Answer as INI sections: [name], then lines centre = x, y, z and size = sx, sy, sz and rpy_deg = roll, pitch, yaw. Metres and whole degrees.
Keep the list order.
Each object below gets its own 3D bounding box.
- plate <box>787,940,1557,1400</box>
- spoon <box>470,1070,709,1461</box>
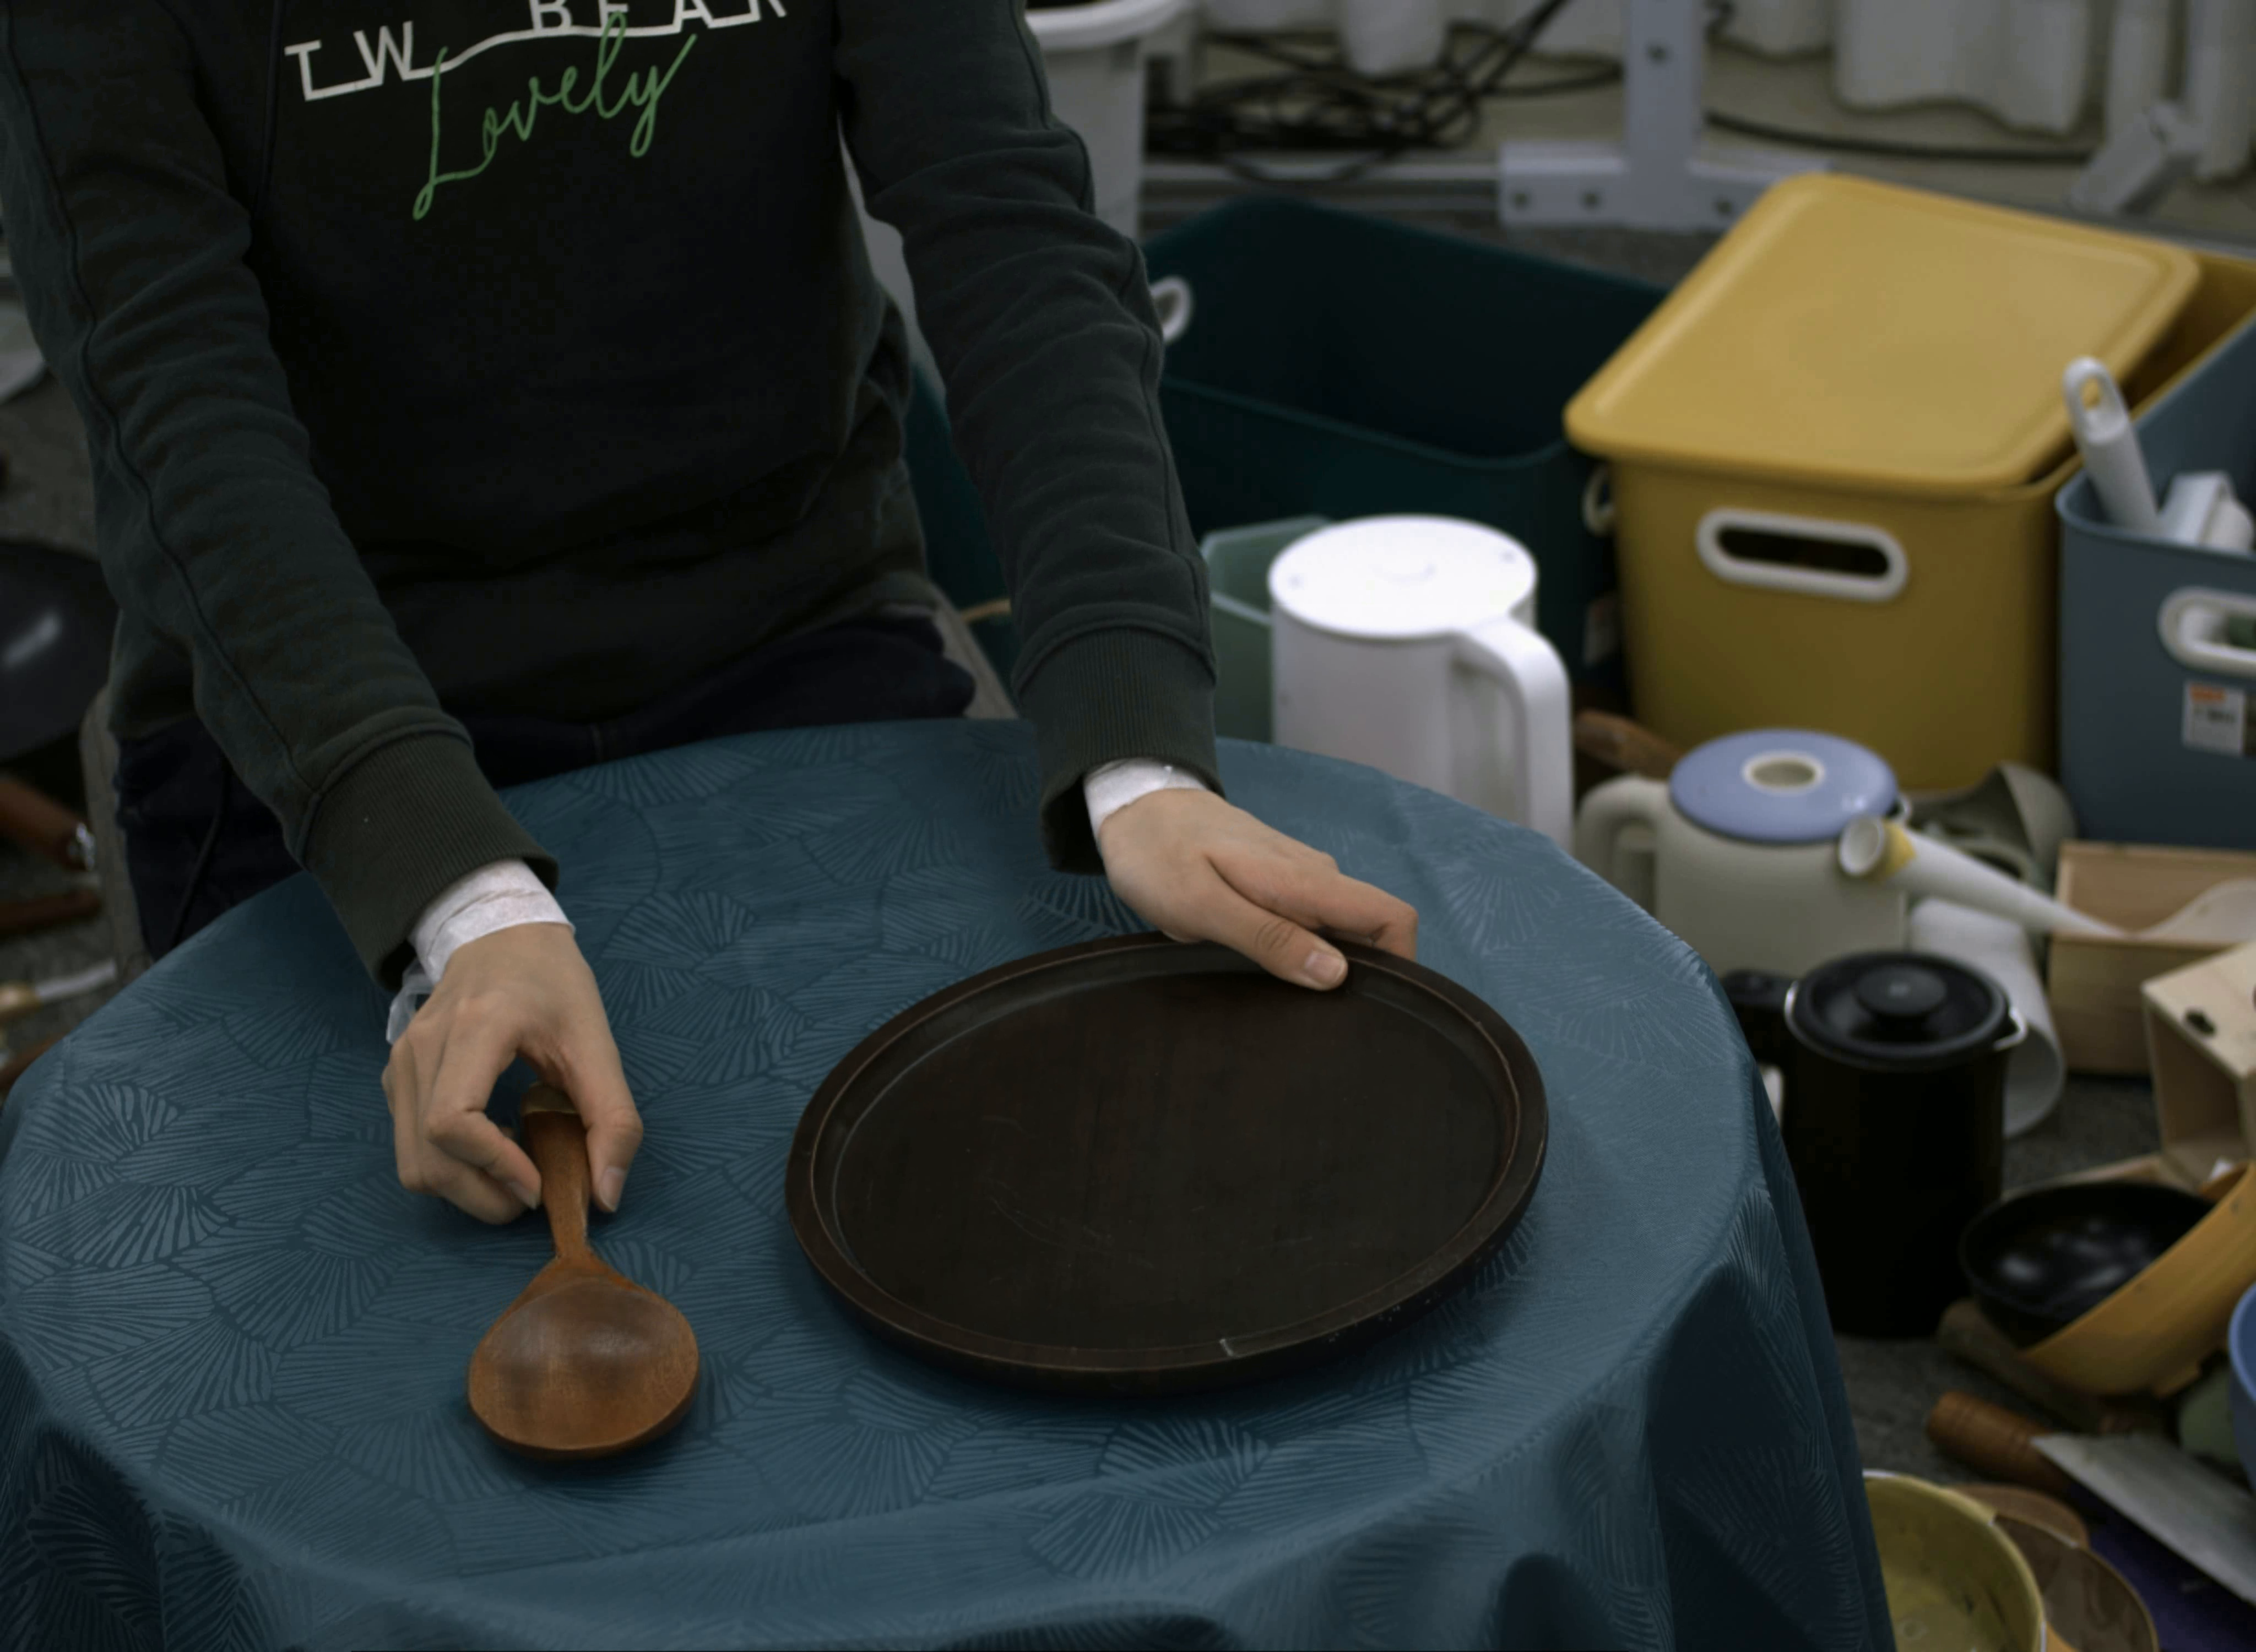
[plate]
centre = 0.014, 0.110, 1.840
size = 0.253, 0.028, 0.259
rpy_deg = -4, 31, 2
[spoon]
centre = -0.178, 0.142, 1.811
size = 0.075, 0.017, 0.219
rpy_deg = -9, 31, -5
